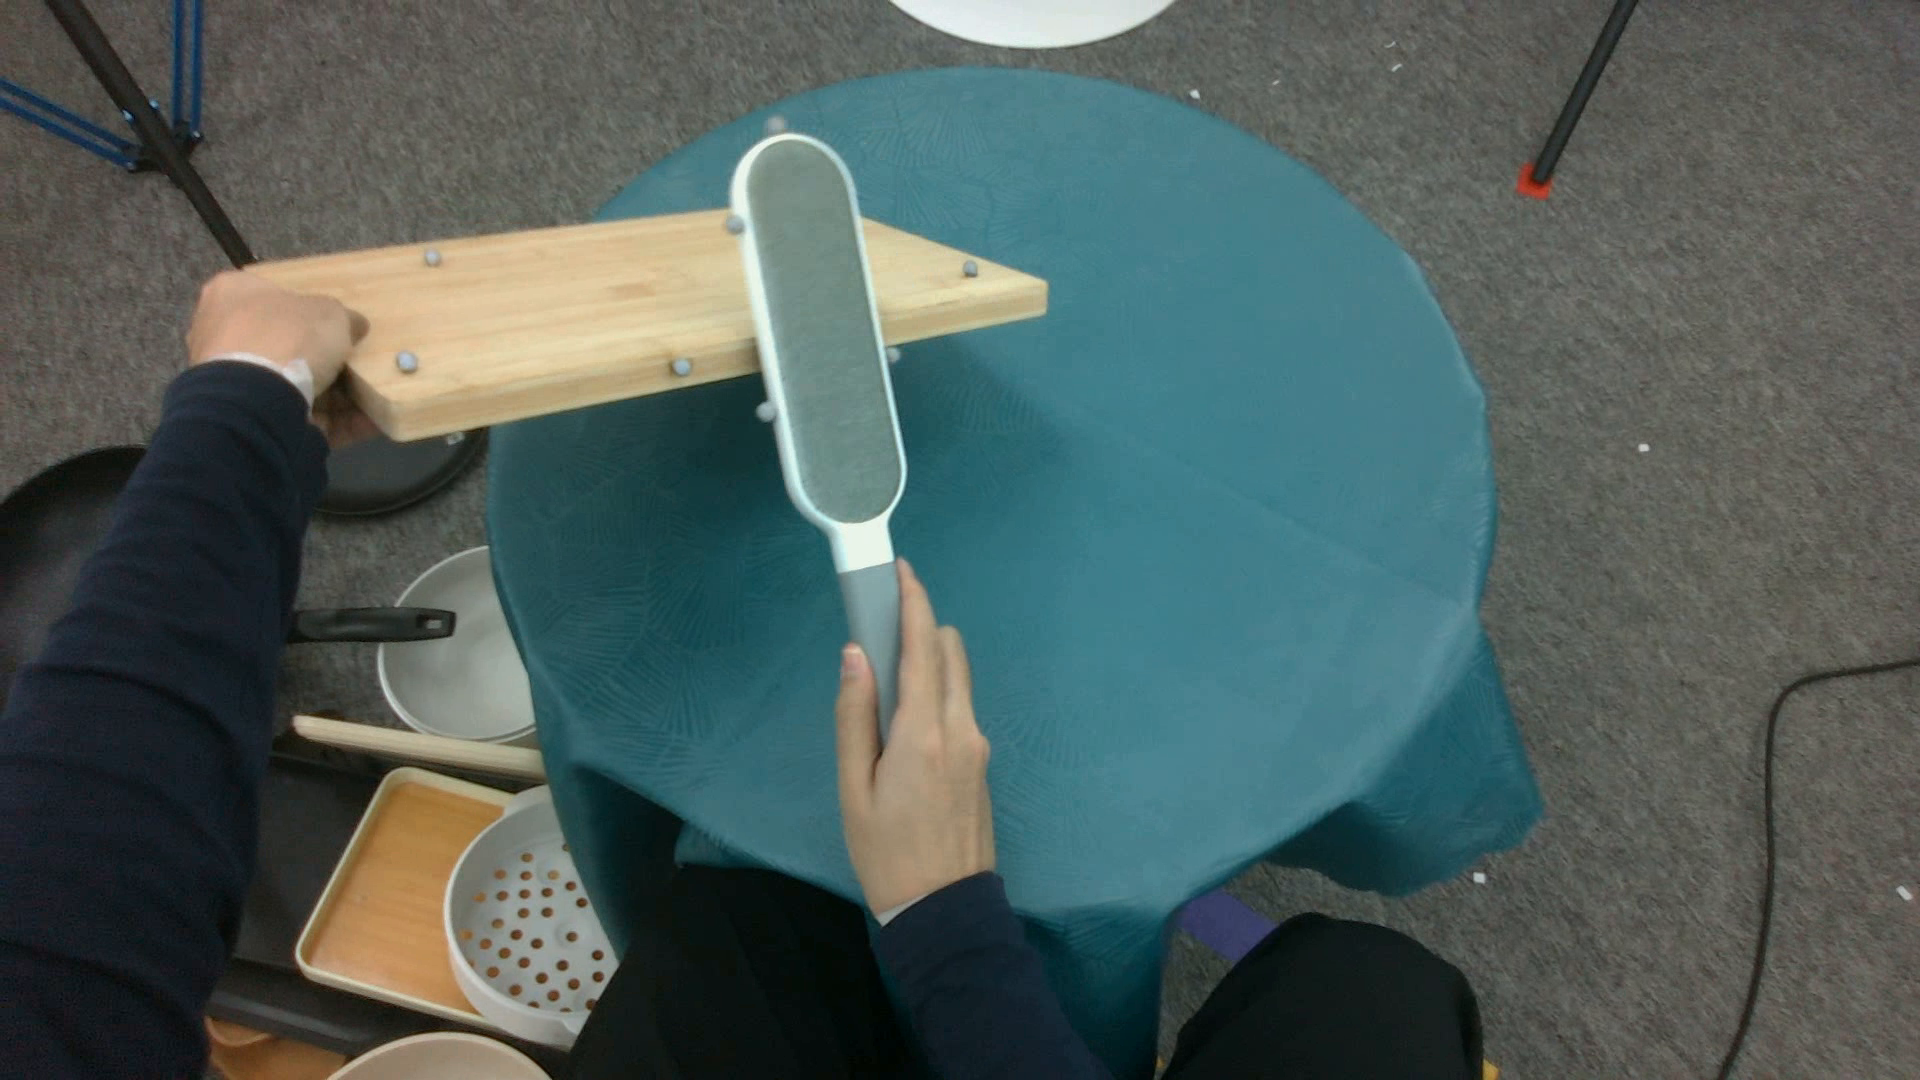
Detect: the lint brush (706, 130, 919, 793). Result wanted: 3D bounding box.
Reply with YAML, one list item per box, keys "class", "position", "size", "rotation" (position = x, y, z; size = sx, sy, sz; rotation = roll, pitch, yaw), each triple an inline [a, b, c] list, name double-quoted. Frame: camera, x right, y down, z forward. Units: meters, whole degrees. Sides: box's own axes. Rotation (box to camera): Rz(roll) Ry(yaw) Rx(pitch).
- class: "lint brush"
  position: [-0.063, -0.035, 0.628]
  size: [0.060, 0.021, 0.309]
  rotation: [-13, 91, -34]

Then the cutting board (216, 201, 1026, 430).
- class: "cutting board"
  position: [-0.171, -0.134, 0.719]
  size: [0.350, 0.023, 0.250]
  rotation: [-18, 31, -34]
